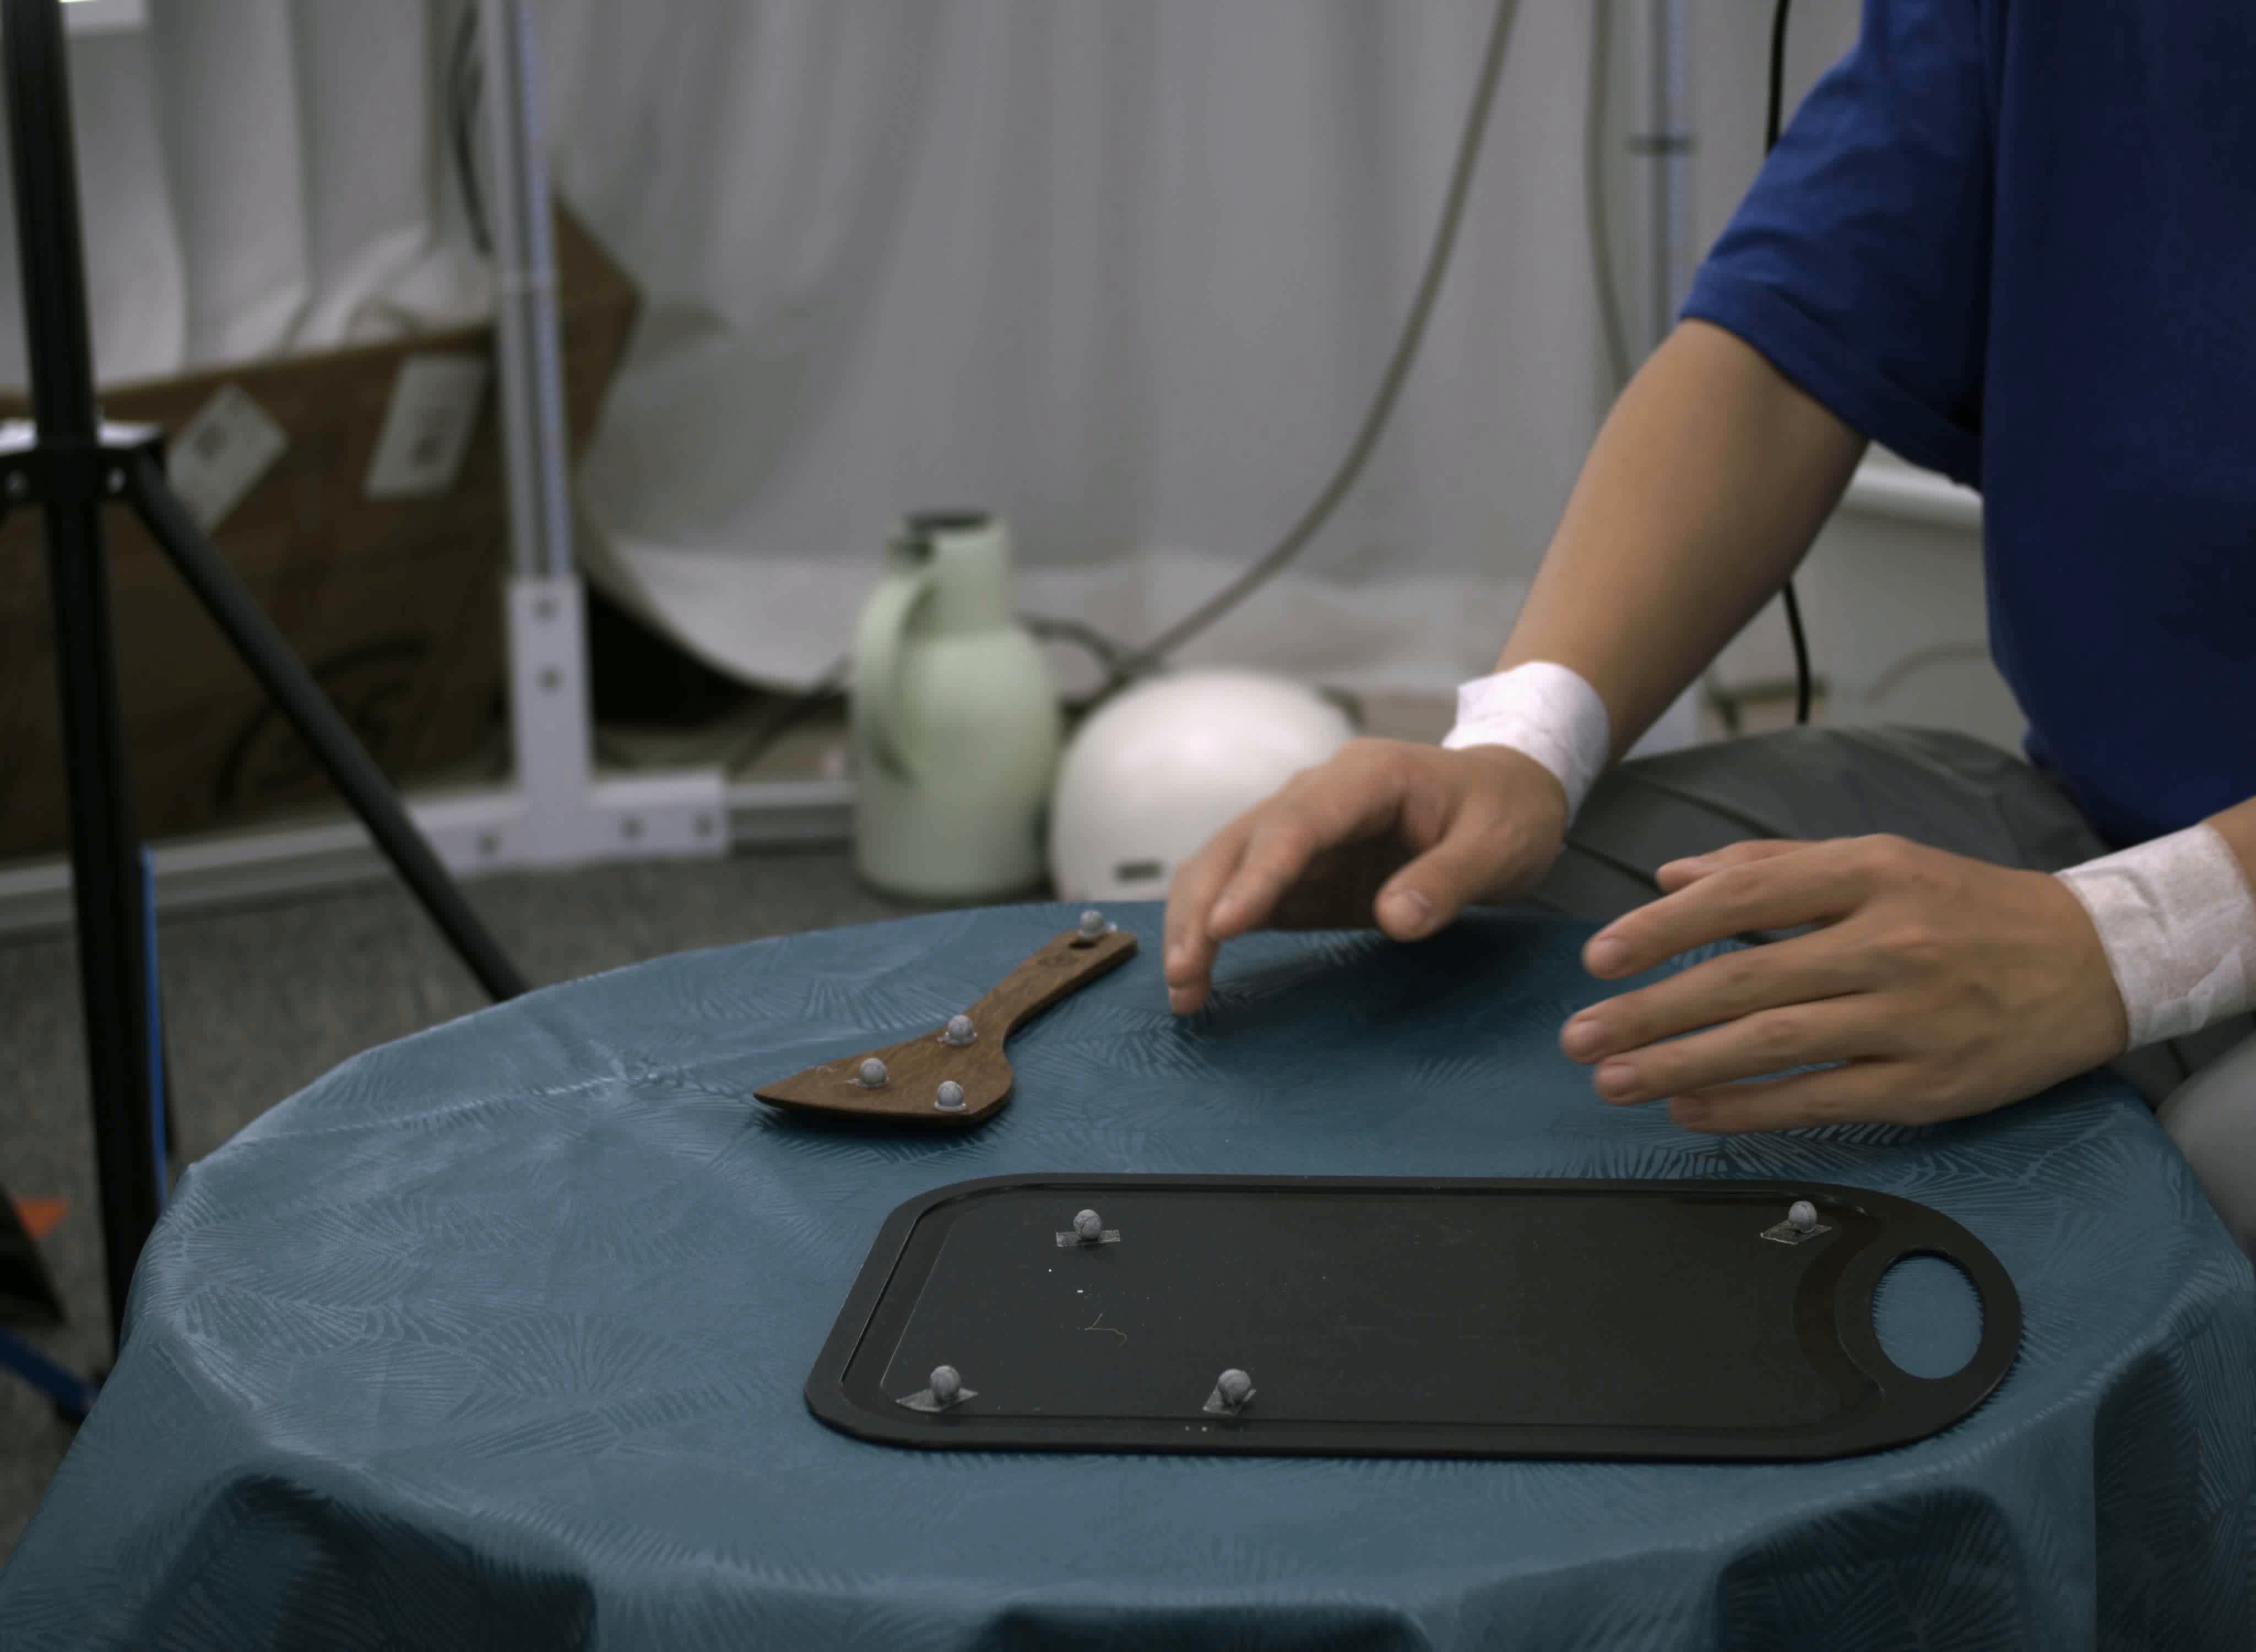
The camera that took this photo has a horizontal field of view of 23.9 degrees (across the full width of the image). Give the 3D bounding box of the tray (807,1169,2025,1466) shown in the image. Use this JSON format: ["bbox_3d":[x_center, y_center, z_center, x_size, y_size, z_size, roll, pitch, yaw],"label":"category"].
[{"bbox_3d":[0.083,0.131,1.451,0.326,0.010,0.210,0,16,10],"label":"tray"}]

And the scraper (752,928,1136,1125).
[{"bbox_3d":[-0.046,0.063,1.707,0.077,0.011,0.208,5,17,22],"label":"scraper"}]
